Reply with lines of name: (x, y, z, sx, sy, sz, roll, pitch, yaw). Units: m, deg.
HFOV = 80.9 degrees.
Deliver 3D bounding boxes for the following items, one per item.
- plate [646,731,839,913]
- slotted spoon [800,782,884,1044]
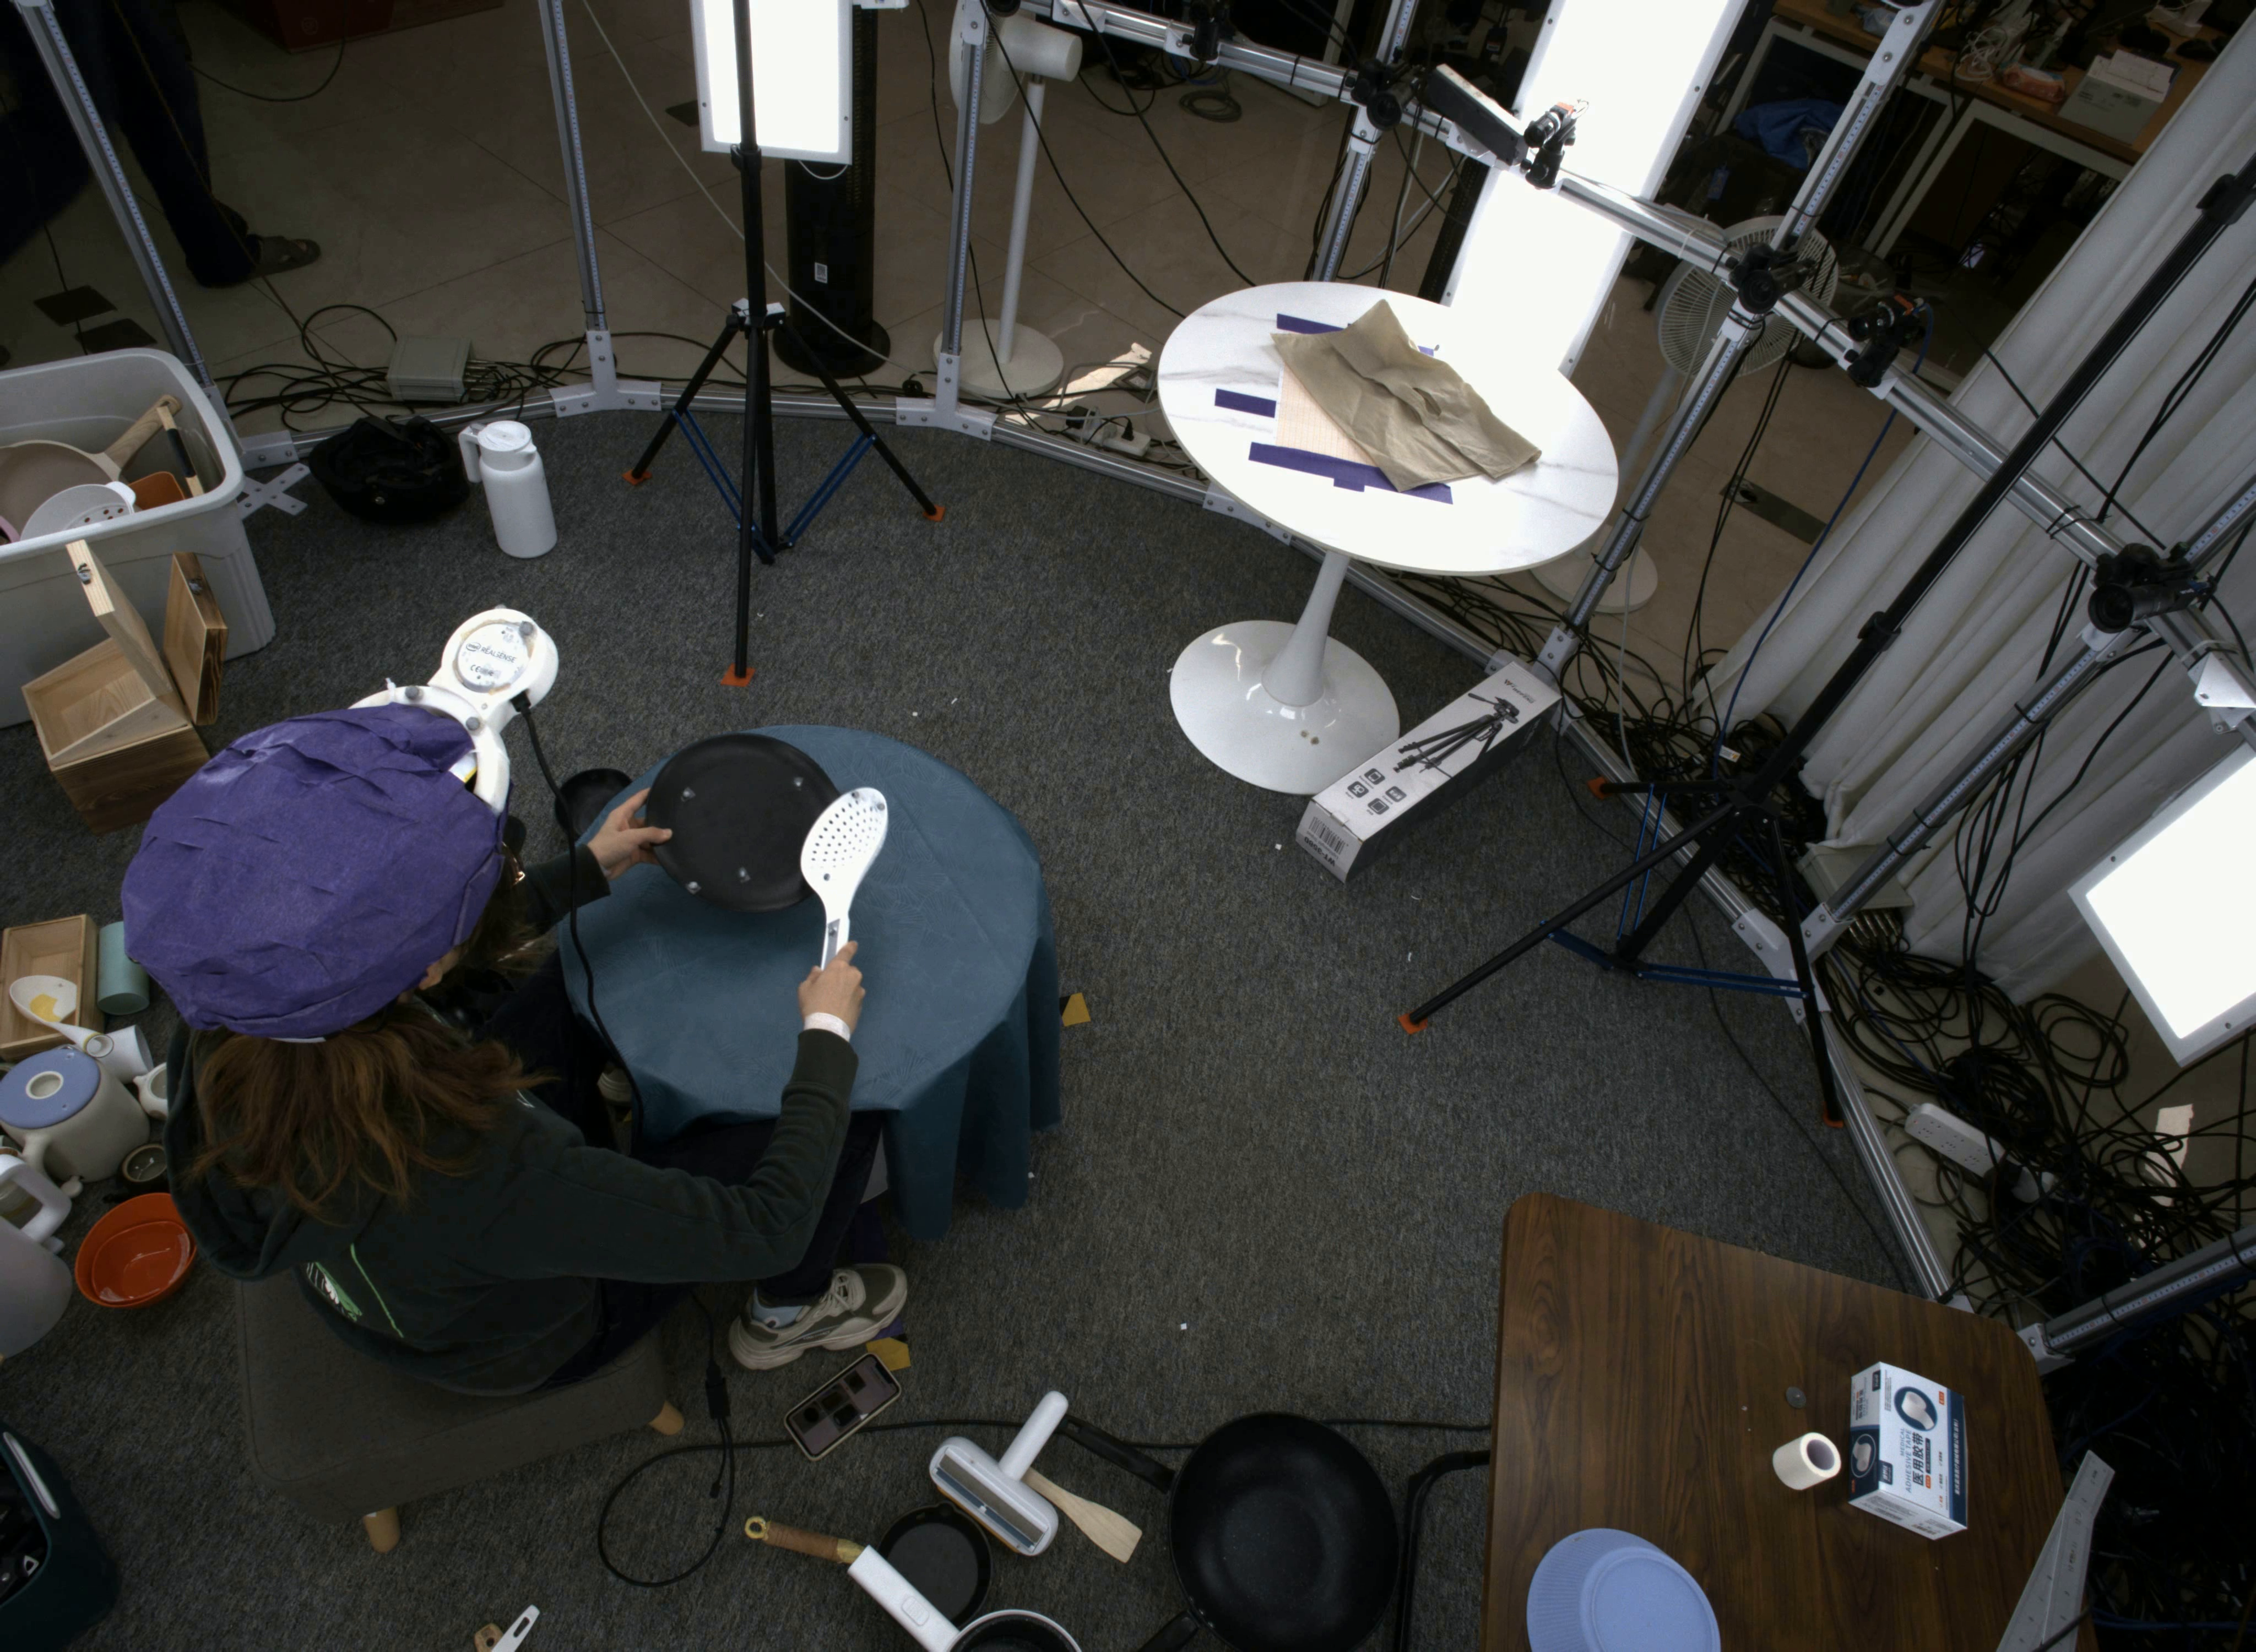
plate: (-0.472, -0.005, 1.599, 0.247, 0.023, 0.242, 12, 63, -22)
slotted spoon: (-0.336, 0.092, 1.496, 0.047, 0.134, 0.342, 44, 32, -38)
